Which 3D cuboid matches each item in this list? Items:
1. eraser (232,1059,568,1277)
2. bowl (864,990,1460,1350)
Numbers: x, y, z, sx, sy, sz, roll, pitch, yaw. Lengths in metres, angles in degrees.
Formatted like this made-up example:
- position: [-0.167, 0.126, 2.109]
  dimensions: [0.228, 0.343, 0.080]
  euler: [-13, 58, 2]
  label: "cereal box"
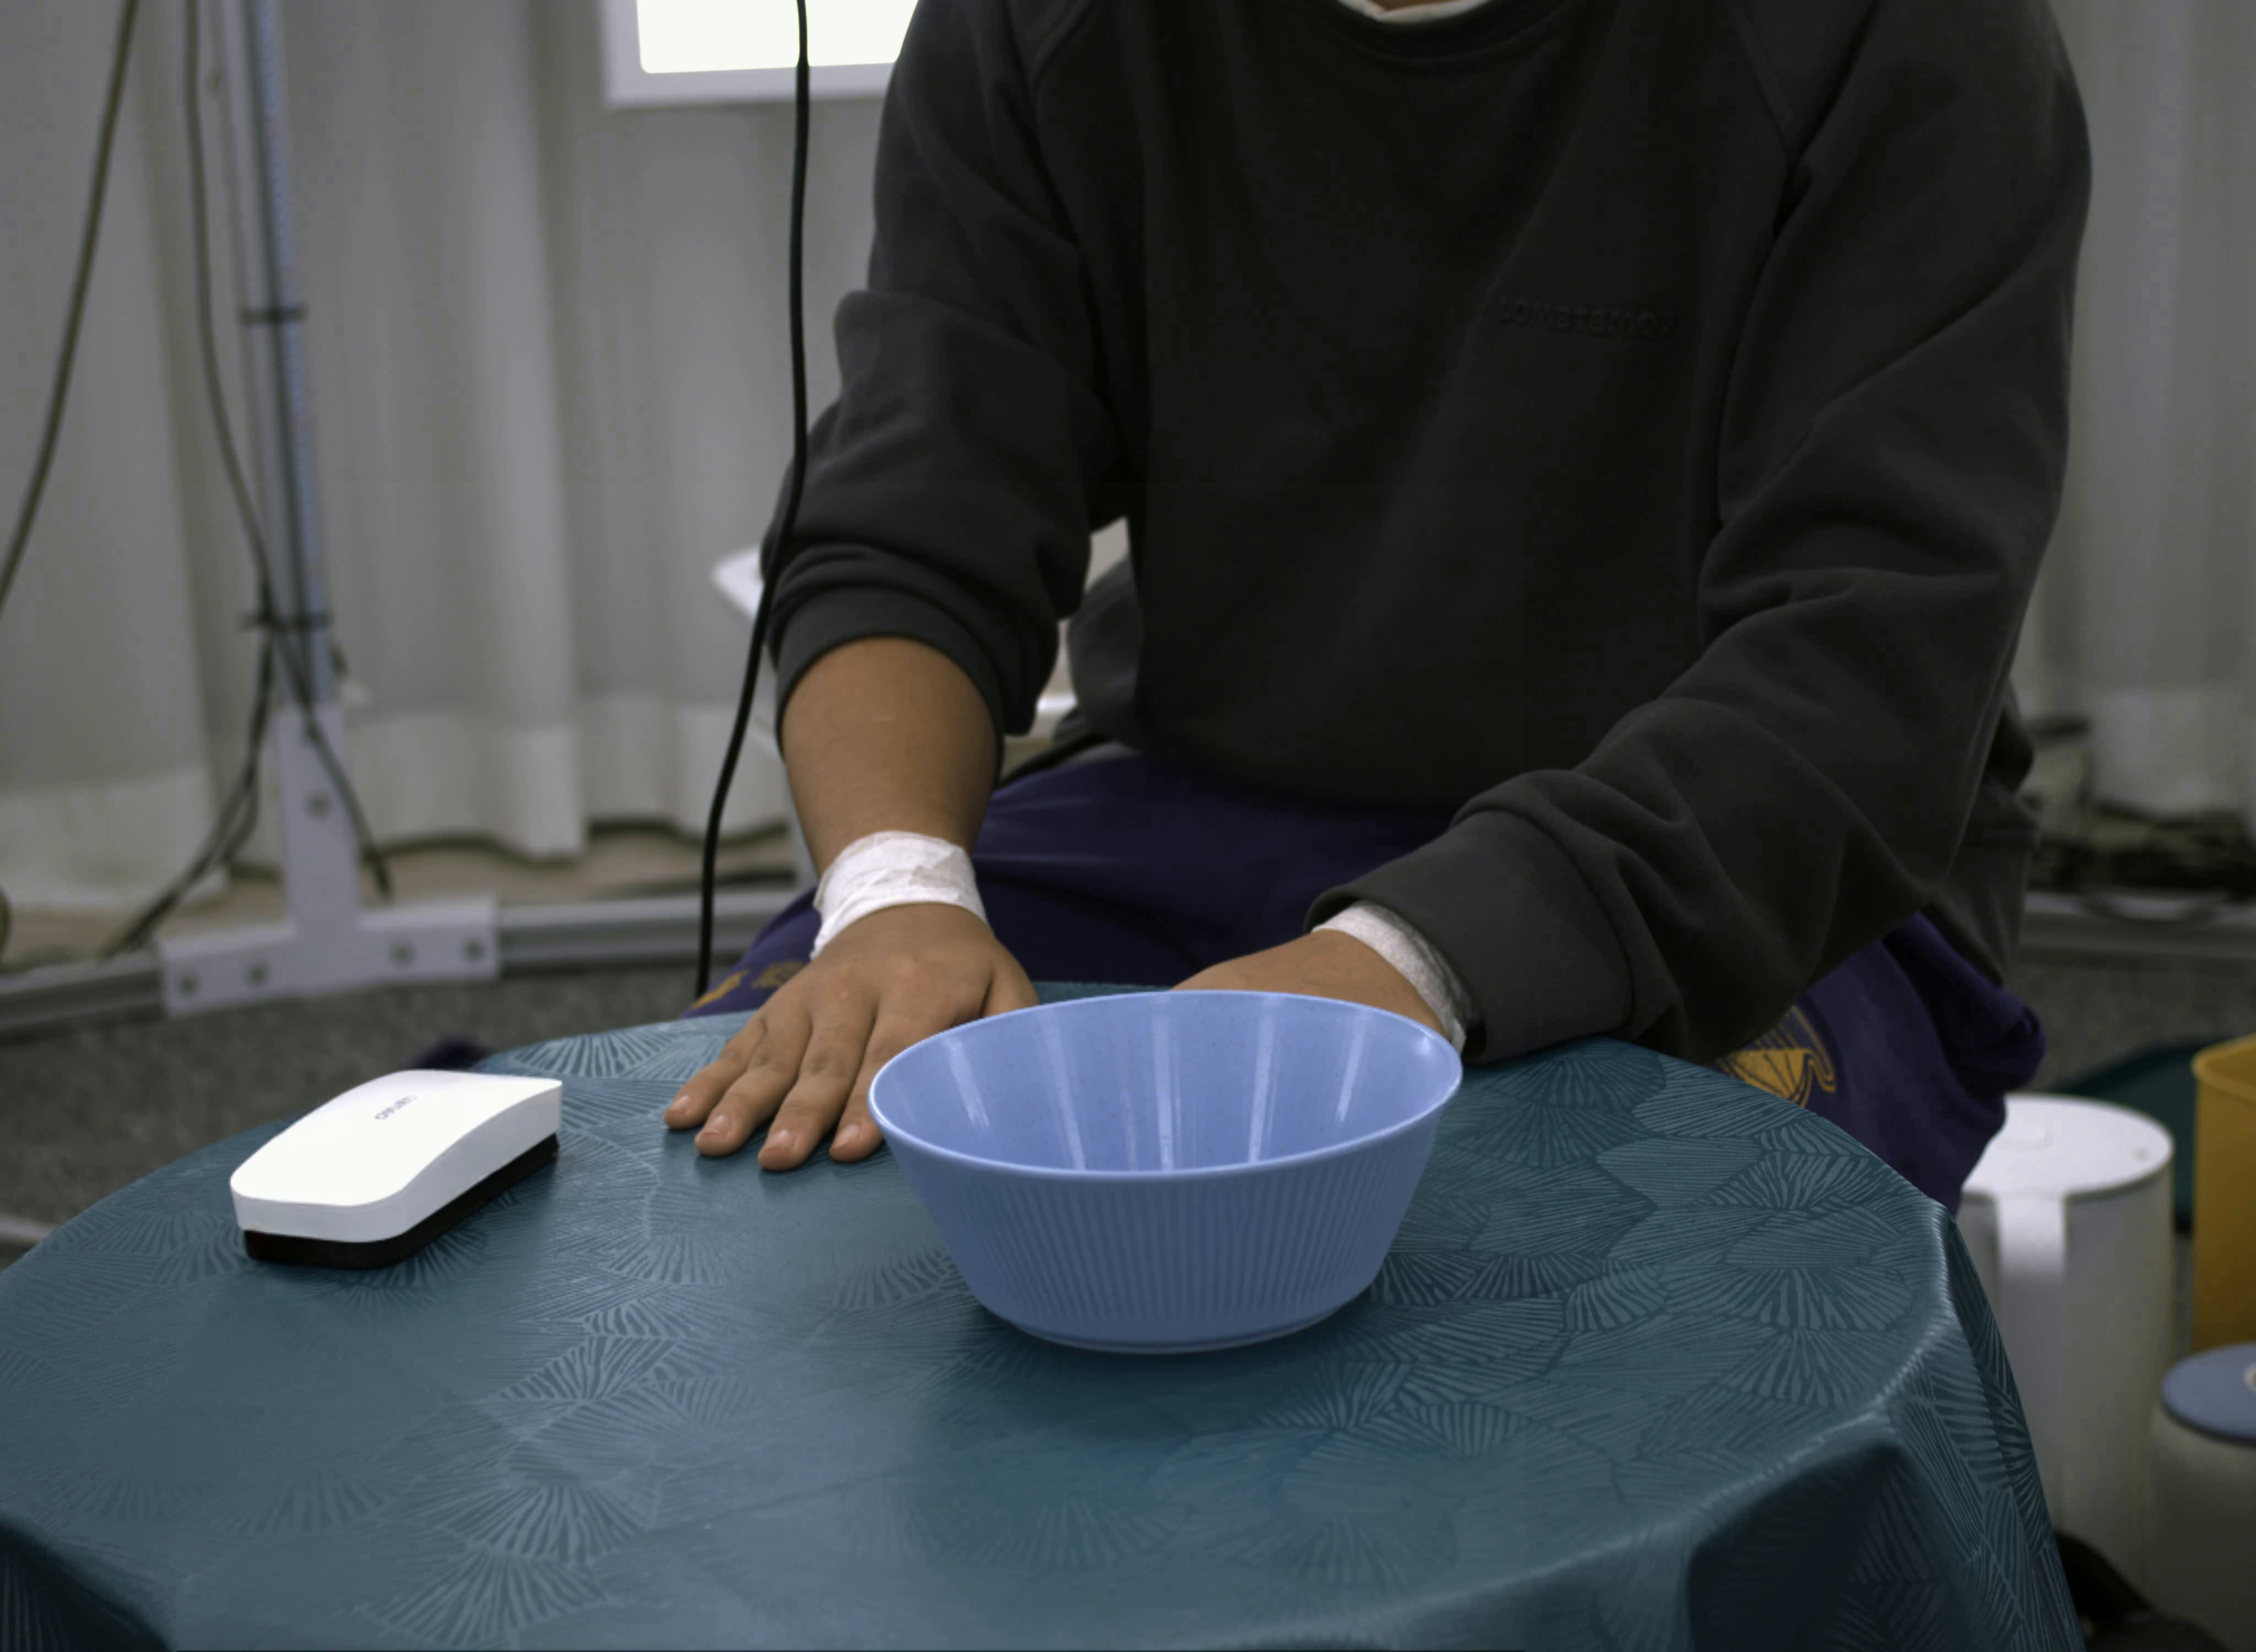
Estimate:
- position: [-0.228, 0.105, 1.736]
  dimensions: [0.063, 0.034, 0.132]
  euler: [5, 18, 23]
  label: "eraser"
- position: [0.011, 0.104, 1.615]
  dimensions: [0.175, 0.070, 0.177]
  euler: [-2, 15, 0]
  label: "bowl"
